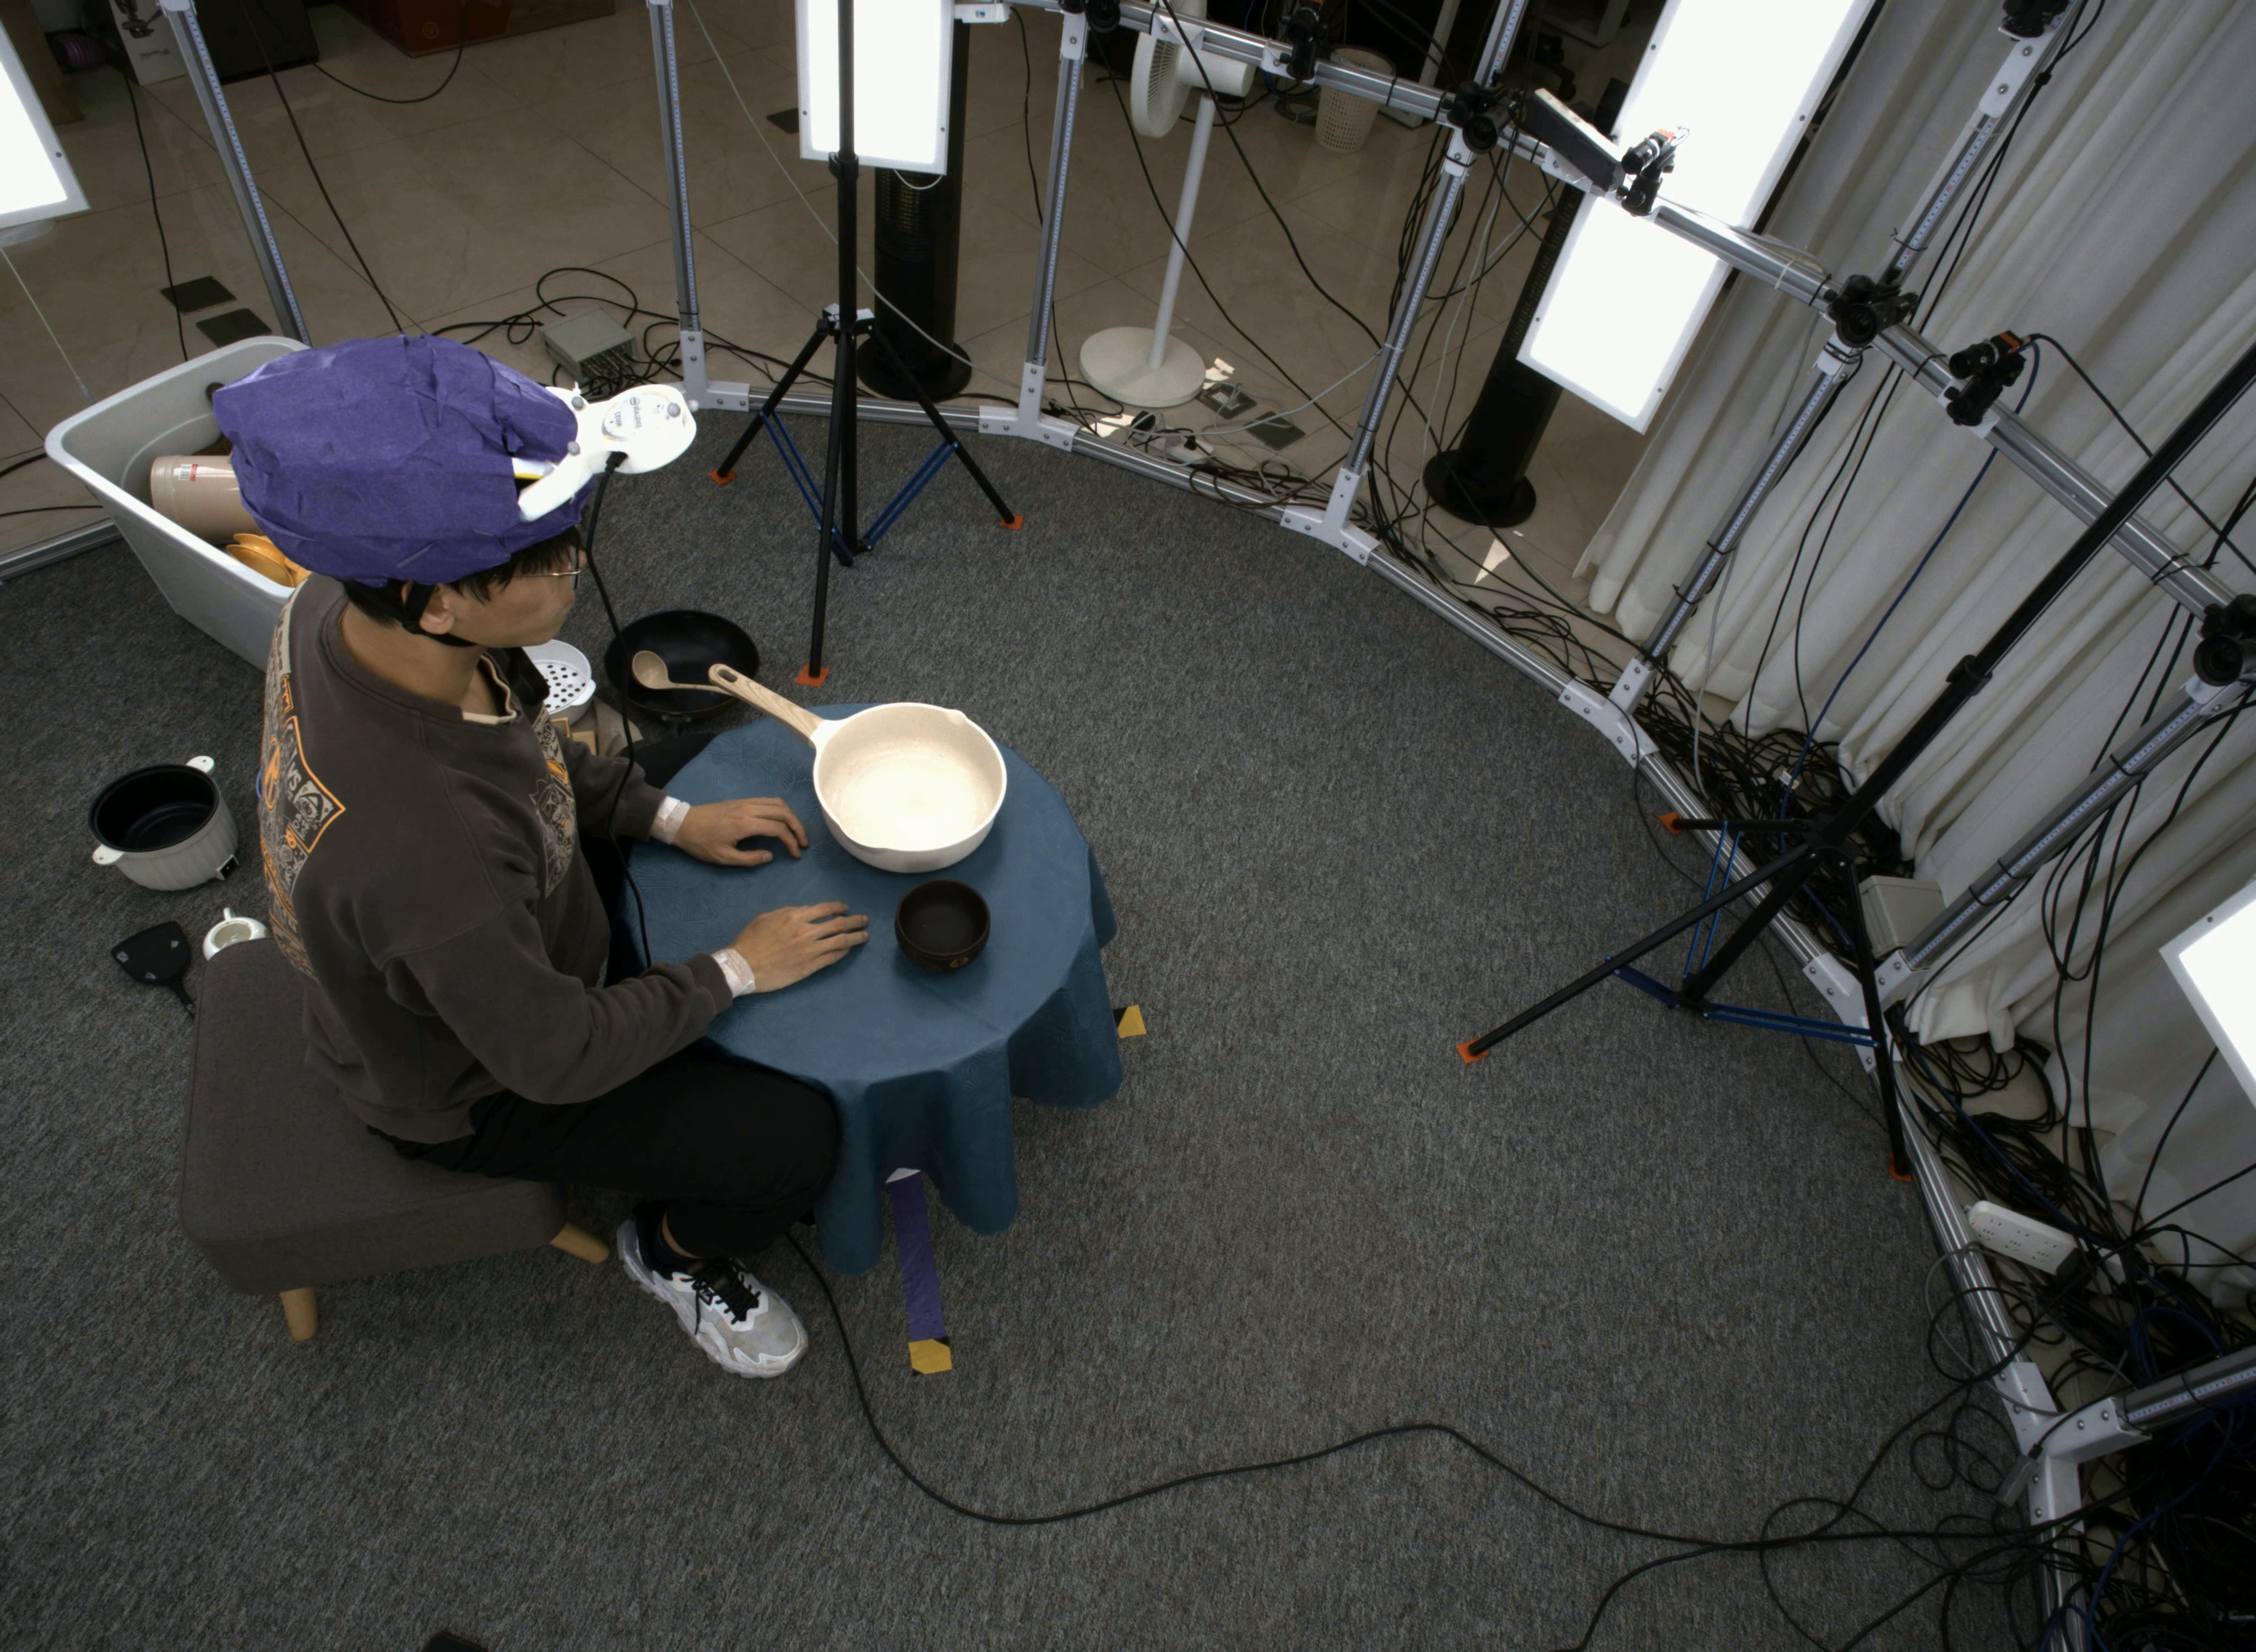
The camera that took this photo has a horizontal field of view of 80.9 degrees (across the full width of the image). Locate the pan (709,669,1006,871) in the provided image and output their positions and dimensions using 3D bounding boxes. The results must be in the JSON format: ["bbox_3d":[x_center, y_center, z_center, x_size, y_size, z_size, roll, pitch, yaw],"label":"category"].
[{"bbox_3d":[-0.372,-0.091,1.755,0.429,0.104,0.262,25,54,6],"label":"pan"}]

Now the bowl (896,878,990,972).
[{"bbox_3d":[-0.234,0.131,1.643,0.117,0.071,0.116,6,54,-7],"label":"bowl"}]
